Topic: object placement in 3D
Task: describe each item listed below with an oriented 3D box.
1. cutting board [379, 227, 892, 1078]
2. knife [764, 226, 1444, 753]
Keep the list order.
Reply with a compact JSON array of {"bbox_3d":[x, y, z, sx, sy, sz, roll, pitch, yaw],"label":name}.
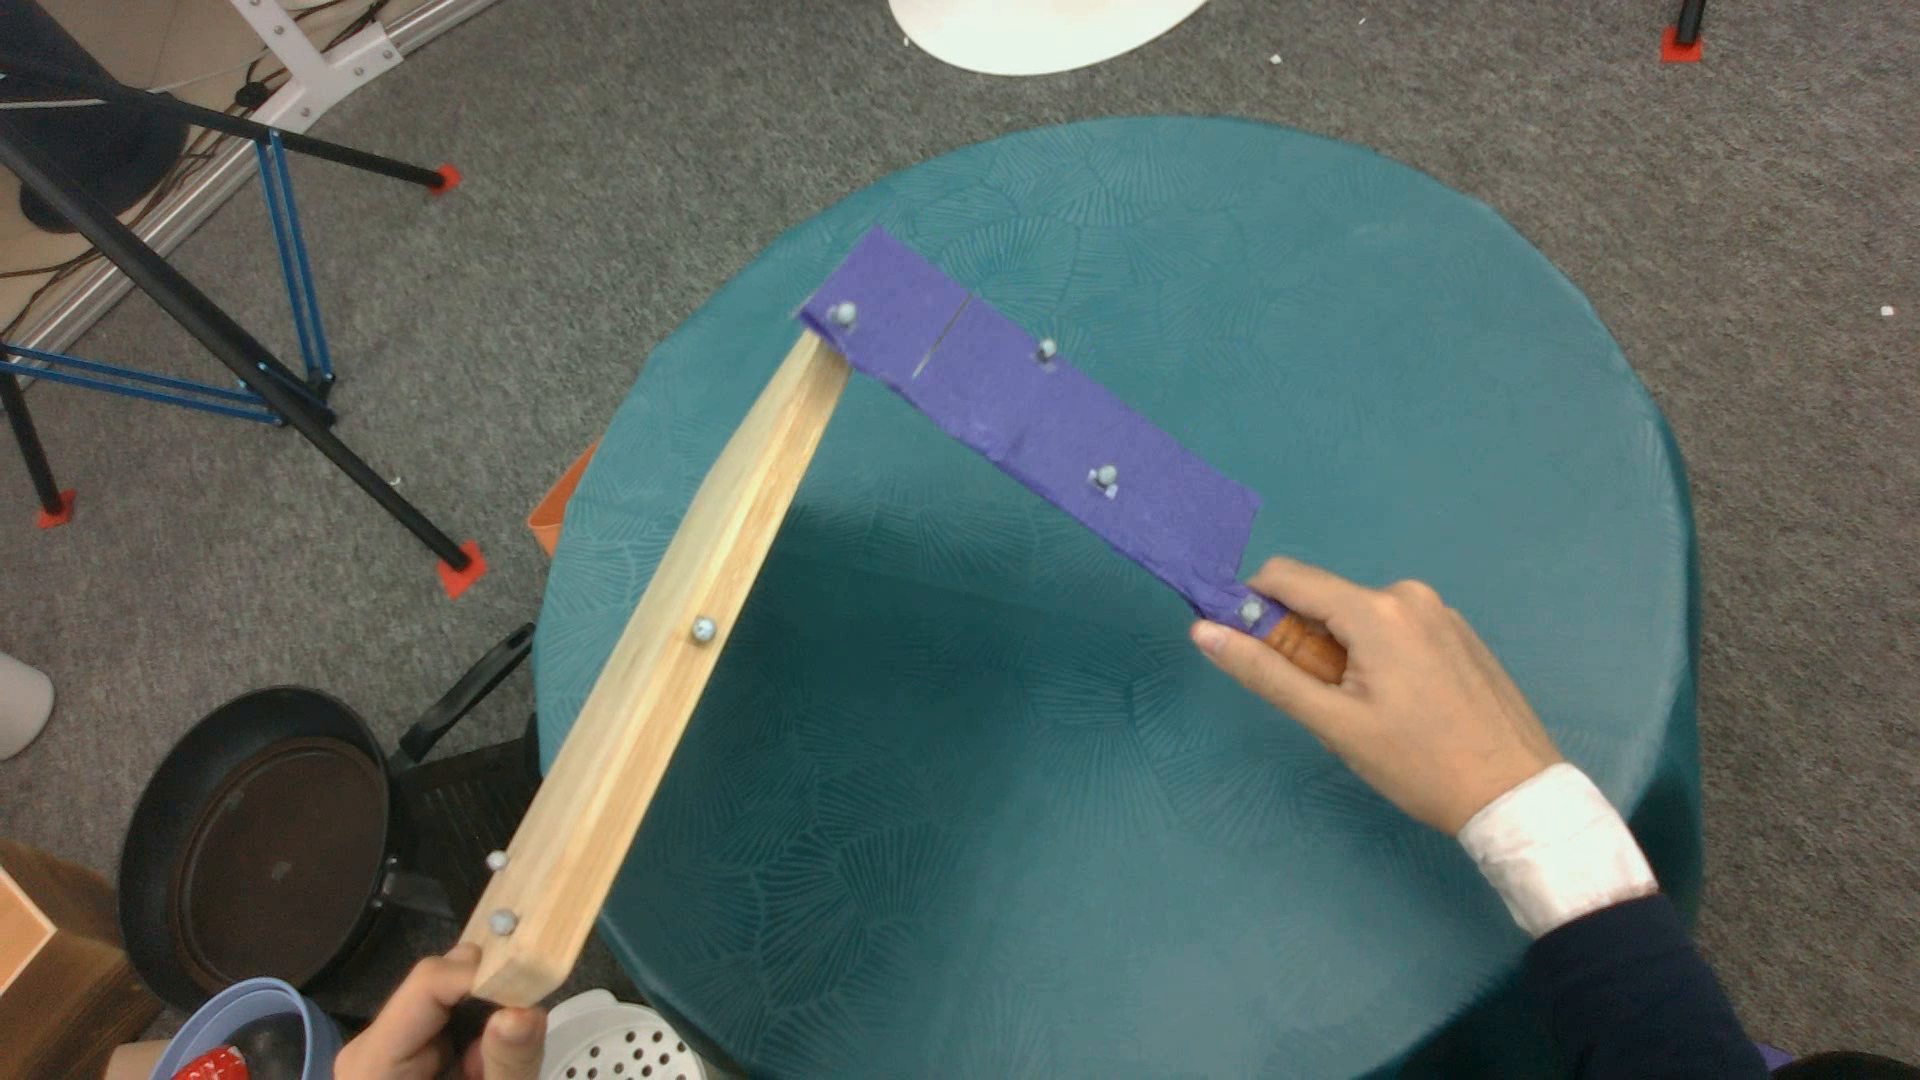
[{"bbox_3d":[-0.137,0.046,0.597,0.023,0.249,0.350,30,52,-15],"label":"cutting board"},{"bbox_3d":[0.071,-0.030,0.572,0.315,0.032,0.104,35,44,-5],"label":"knife"}]
